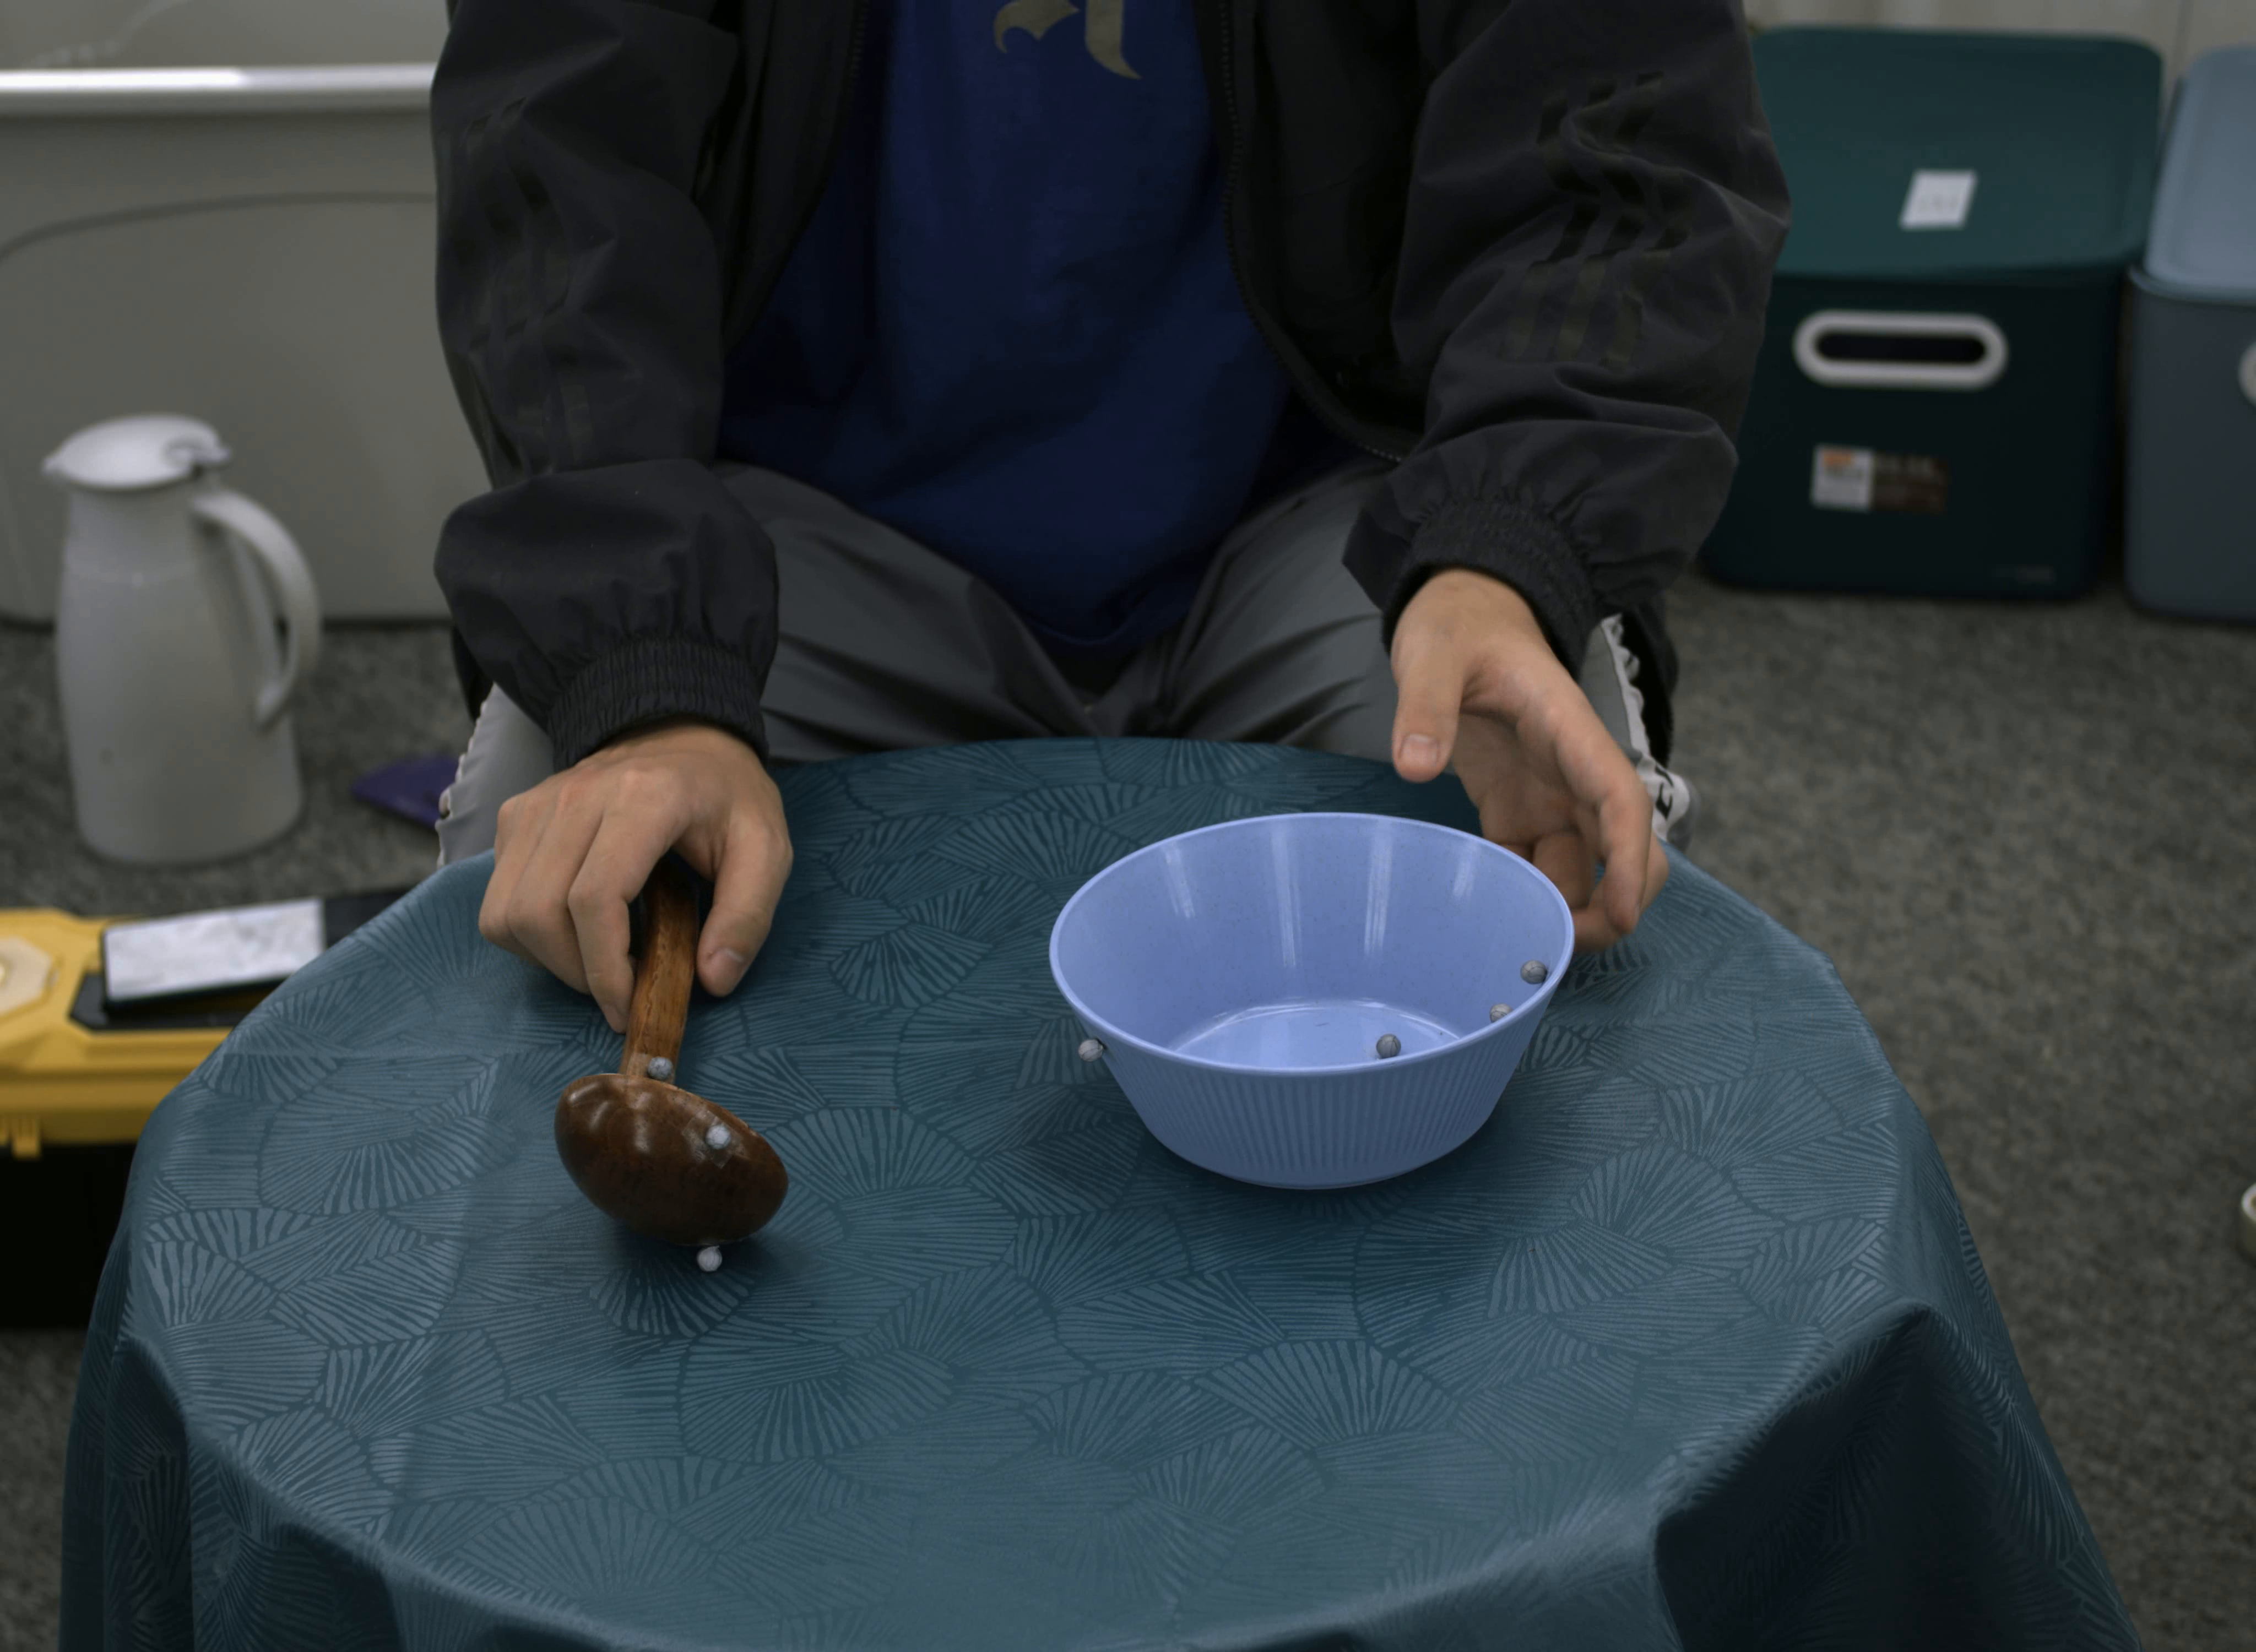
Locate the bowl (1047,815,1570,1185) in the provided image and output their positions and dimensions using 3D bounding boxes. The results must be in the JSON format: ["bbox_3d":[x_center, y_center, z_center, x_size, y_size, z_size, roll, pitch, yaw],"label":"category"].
[{"bbox_3d":[0.061,0.064,1.891,0.175,0.069,0.179,-2,27,1],"label":"bowl"}]

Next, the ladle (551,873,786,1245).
[{"bbox_3d":[-0.148,0.060,1.921,0.081,0.076,0.278,40,21,-15],"label":"ladle"}]
